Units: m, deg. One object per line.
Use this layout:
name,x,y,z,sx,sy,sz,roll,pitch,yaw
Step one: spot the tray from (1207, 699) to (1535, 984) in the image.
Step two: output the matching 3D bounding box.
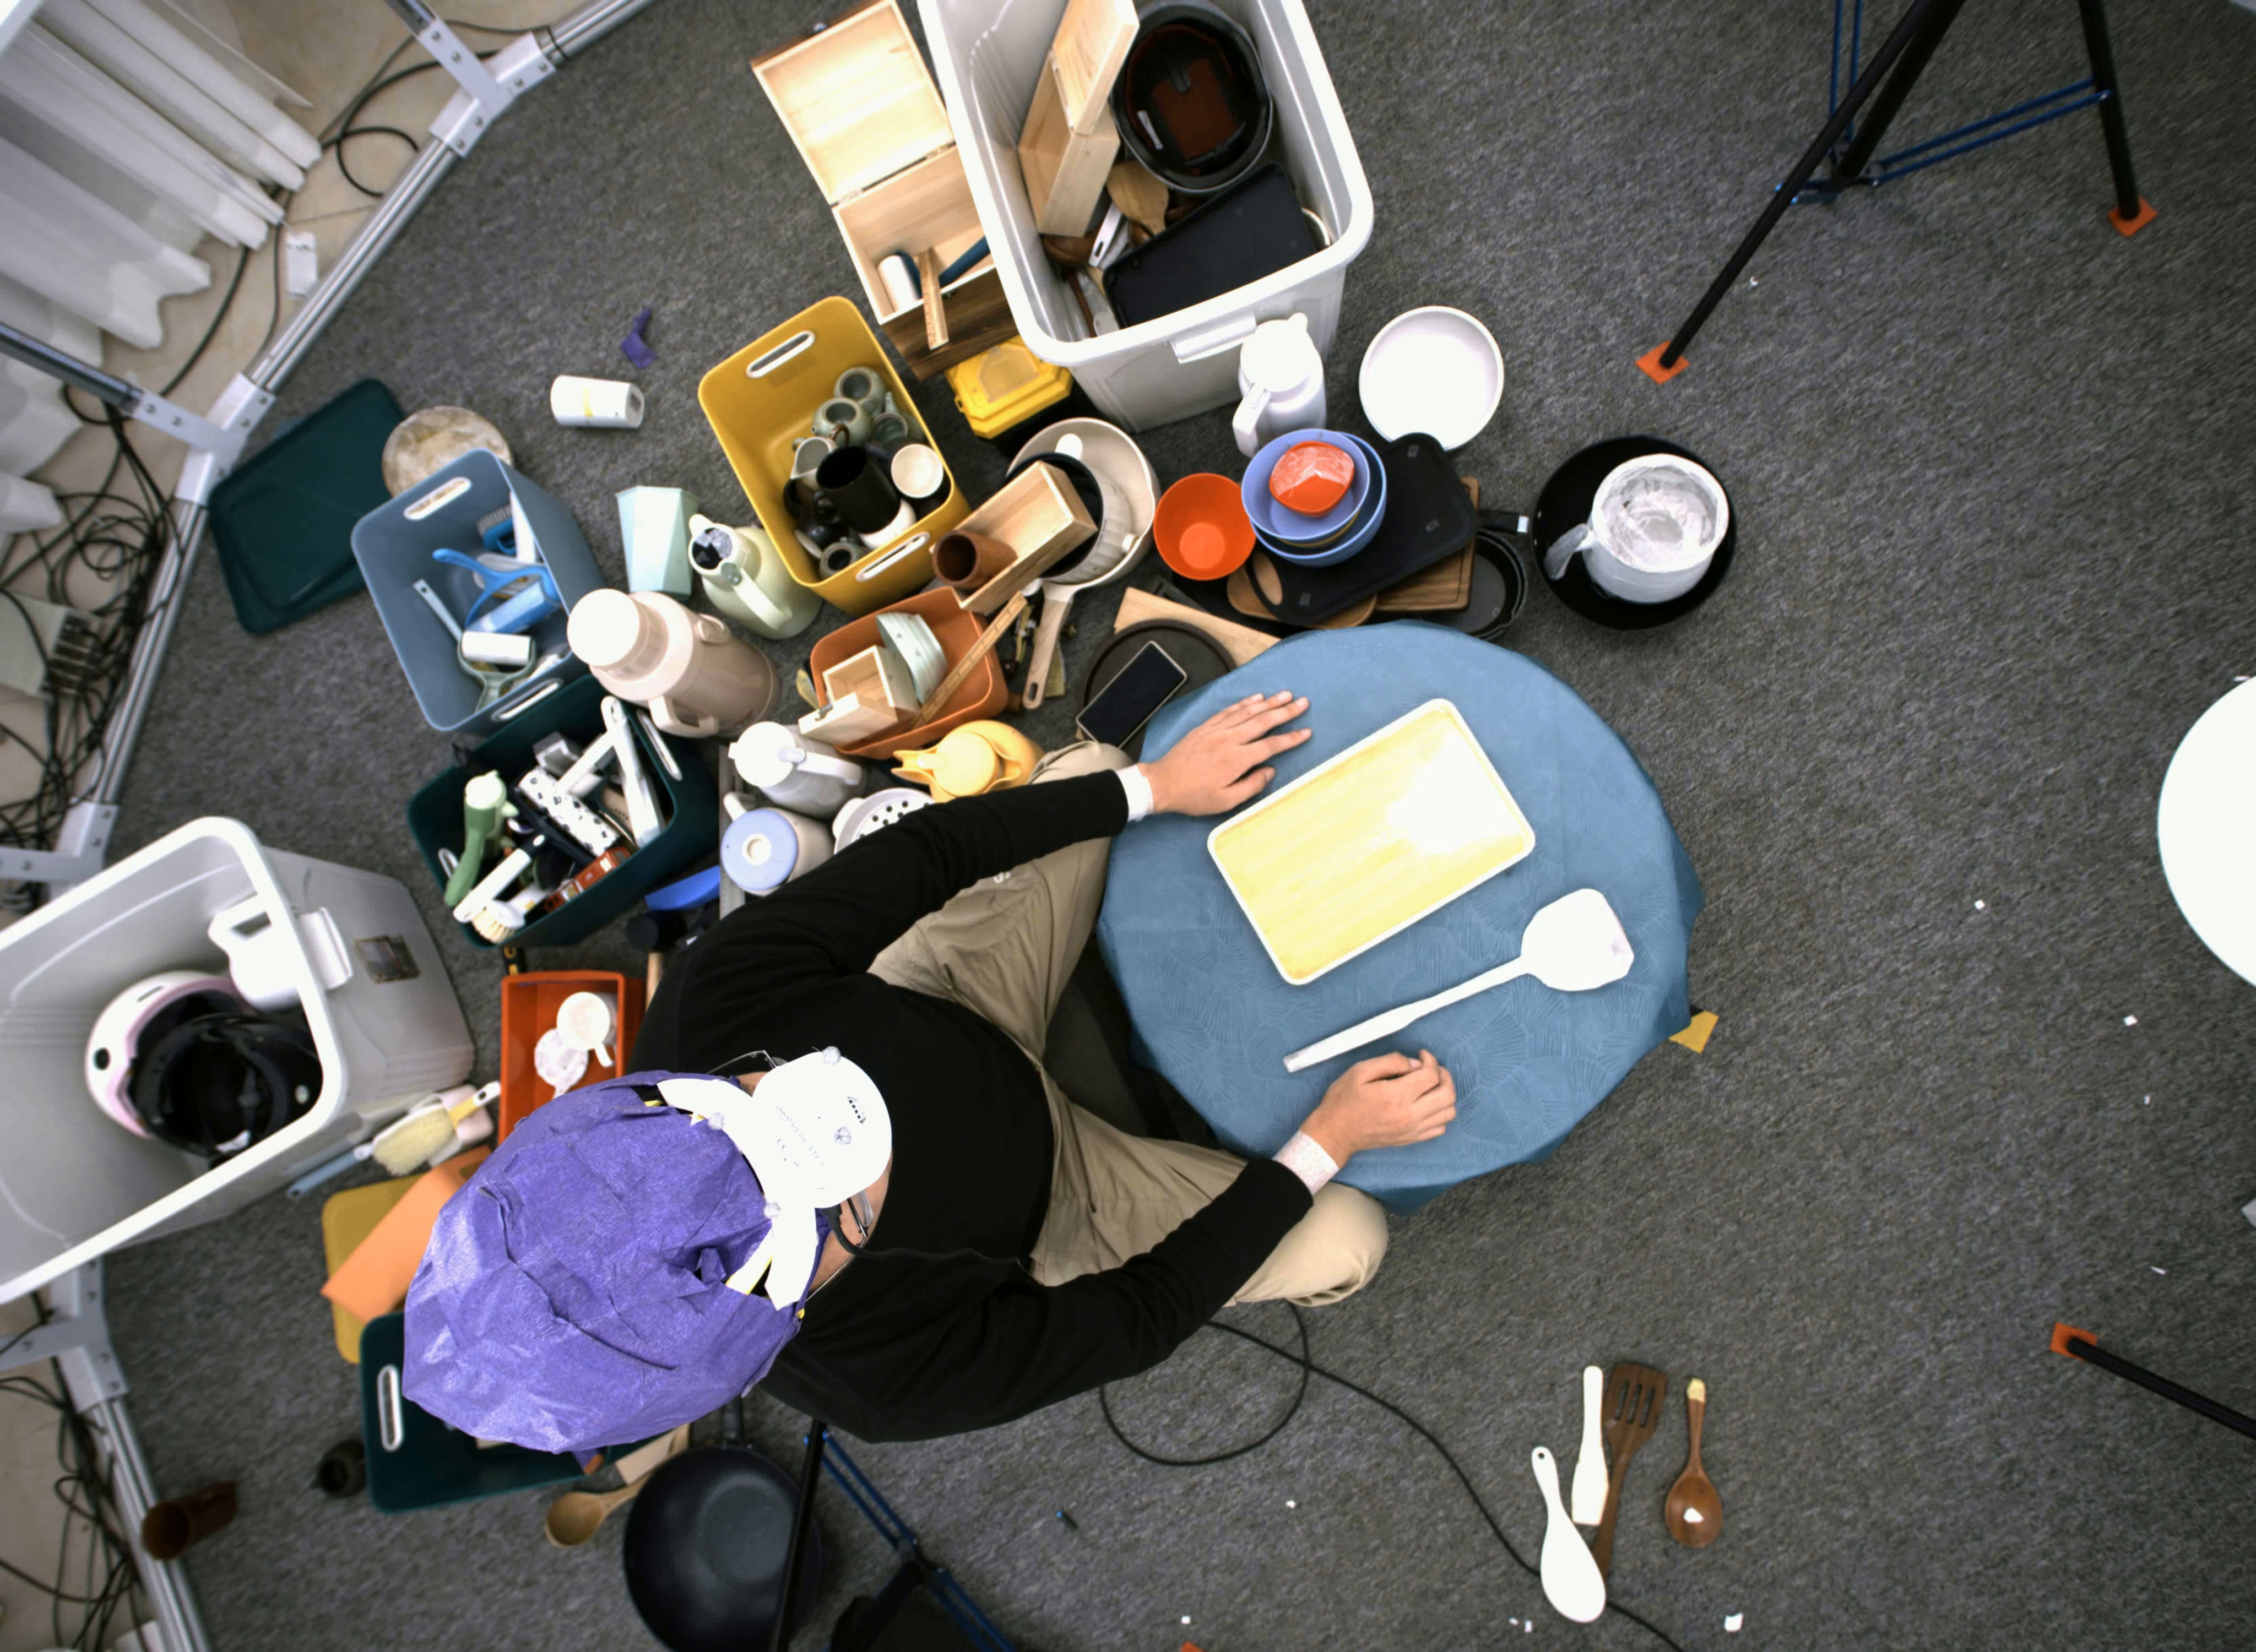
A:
tray,0.253,0.015,1.453,0.302,0.027,0.190,-31,82,8

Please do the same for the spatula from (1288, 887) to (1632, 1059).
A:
spatula,0.335,0.170,1.423,0.367,0.045,0.098,-24,83,8
